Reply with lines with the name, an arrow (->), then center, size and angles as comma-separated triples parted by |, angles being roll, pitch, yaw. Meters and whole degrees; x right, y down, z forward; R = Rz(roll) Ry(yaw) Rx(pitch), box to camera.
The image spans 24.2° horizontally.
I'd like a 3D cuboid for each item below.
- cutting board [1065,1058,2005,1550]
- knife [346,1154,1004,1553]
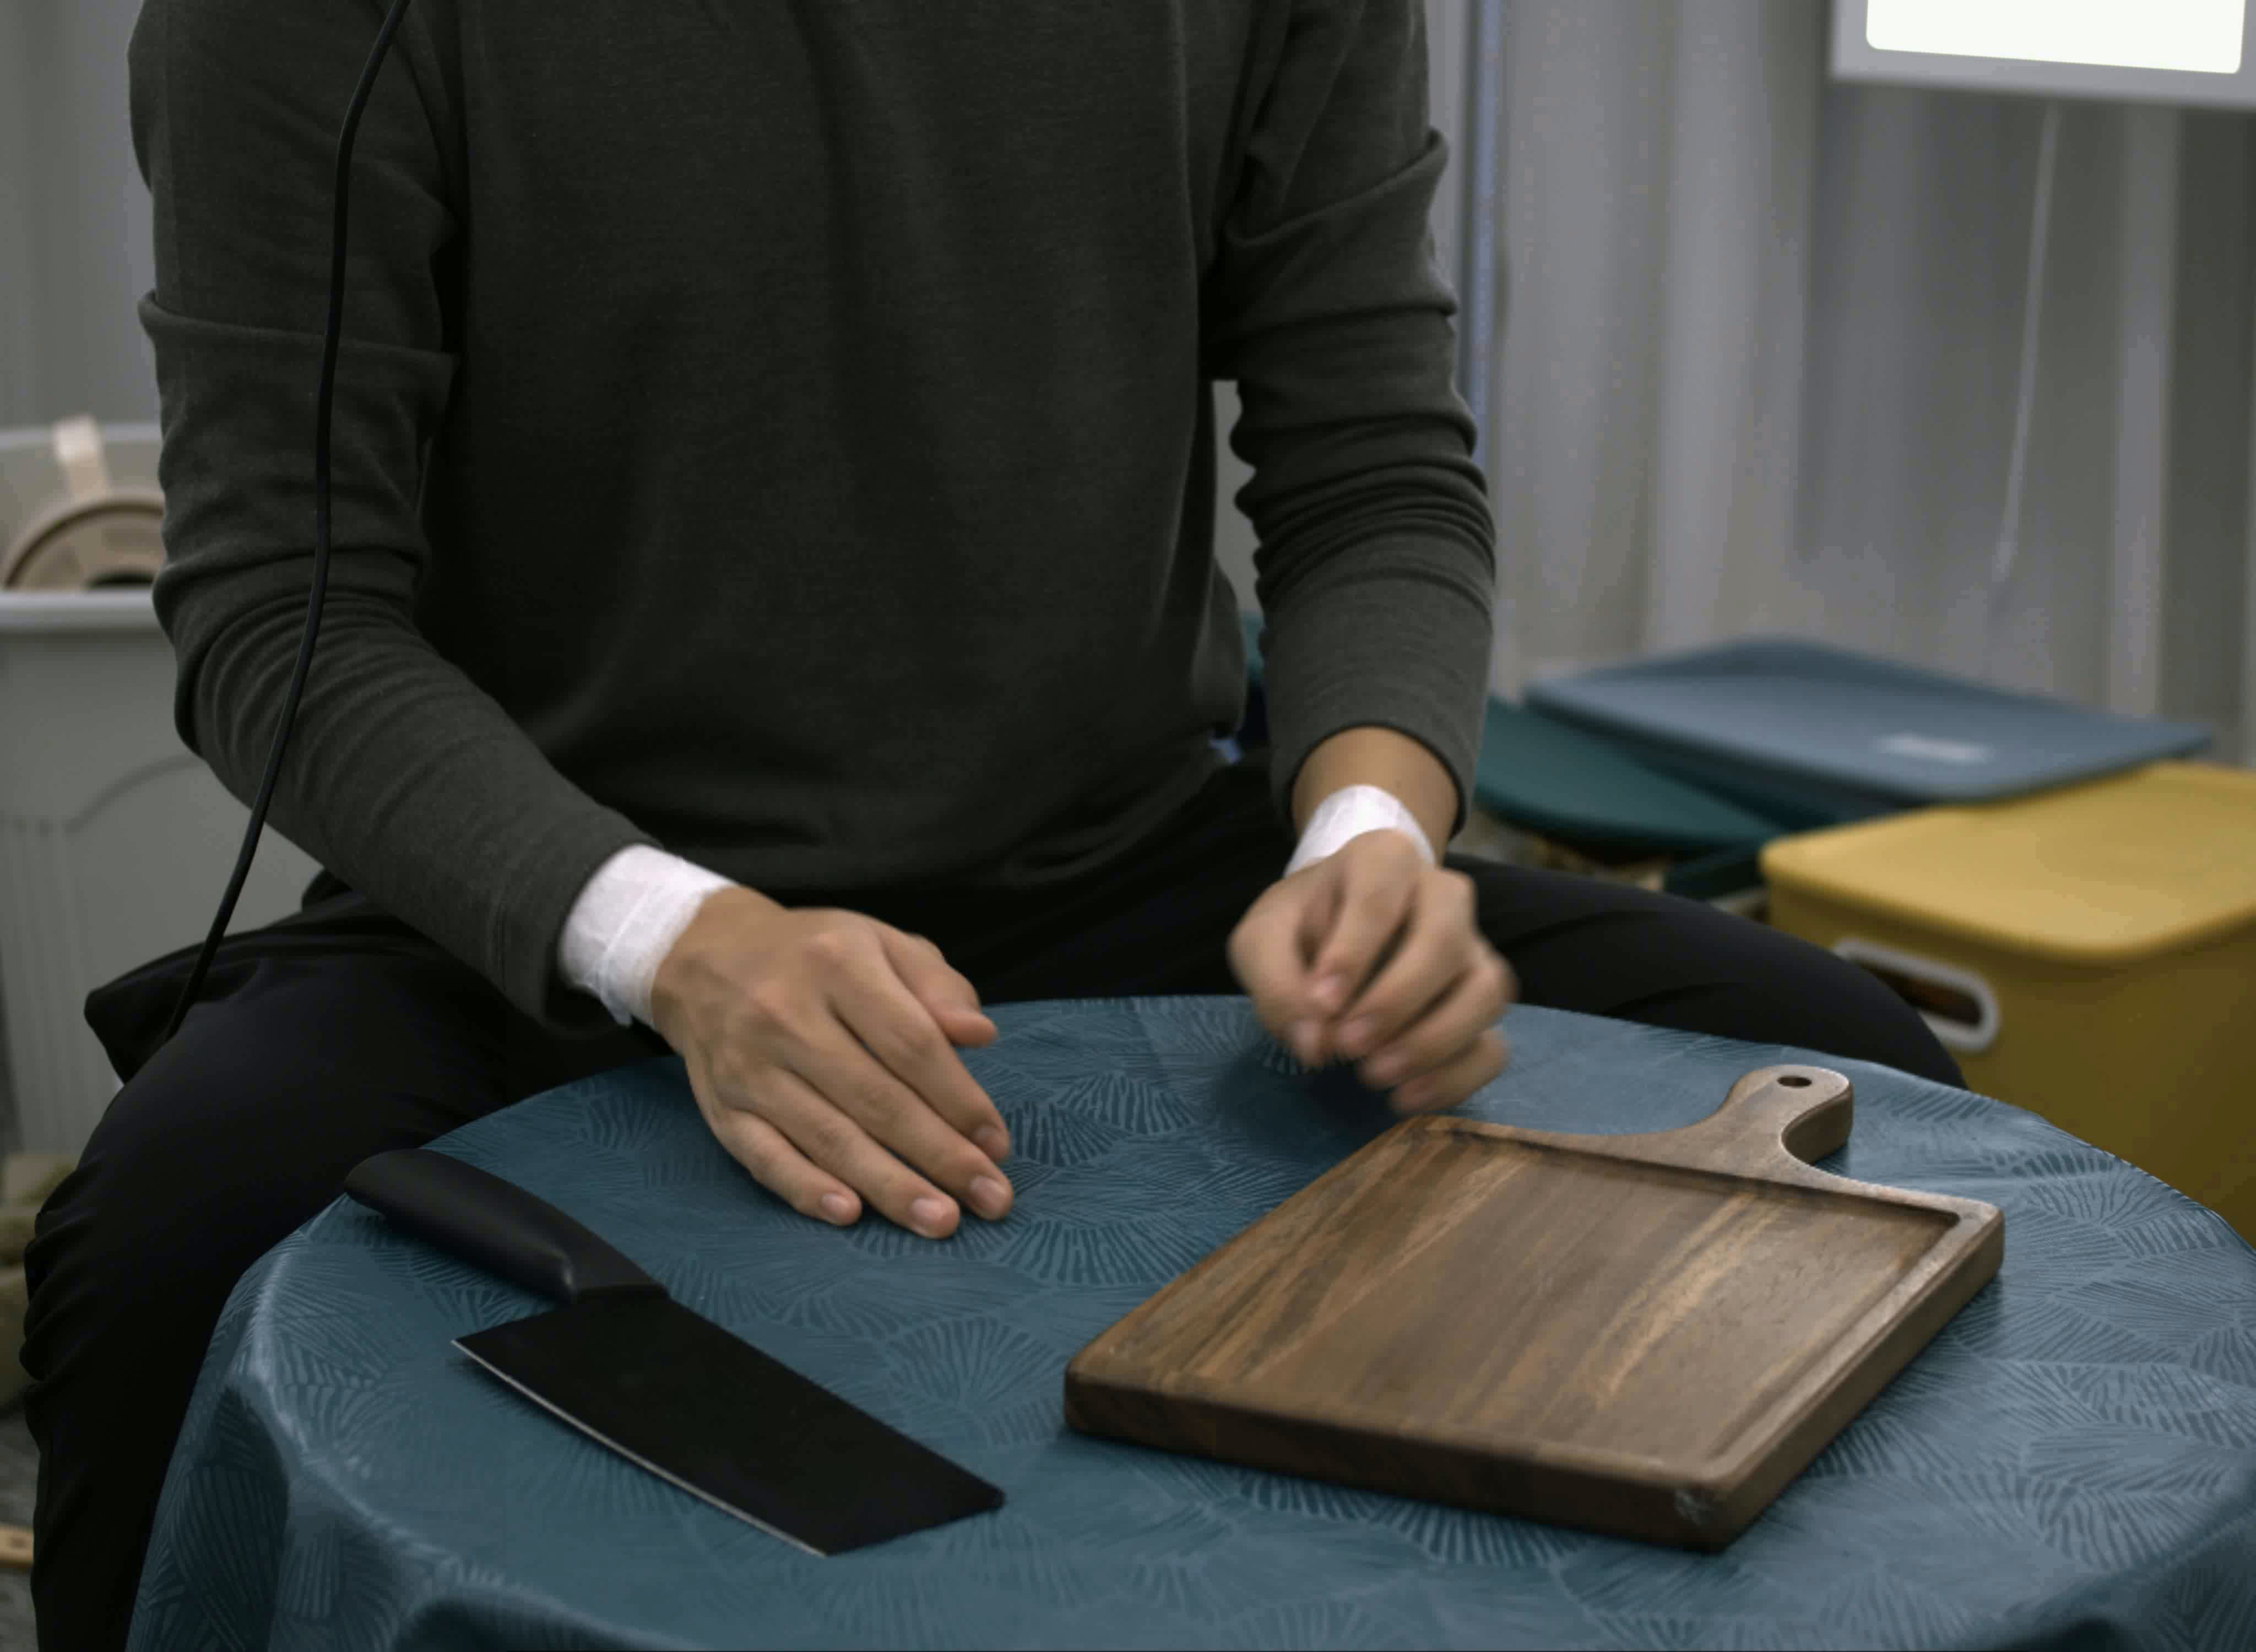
cutting board -> 0.143, 0.126, 1.540 | 0.199, 0.023, 0.353 | 8, 17, 24
knife -> -0.143, 0.145, 1.476 | 0.081, 0.021, 0.298 | -11, 21, -32
